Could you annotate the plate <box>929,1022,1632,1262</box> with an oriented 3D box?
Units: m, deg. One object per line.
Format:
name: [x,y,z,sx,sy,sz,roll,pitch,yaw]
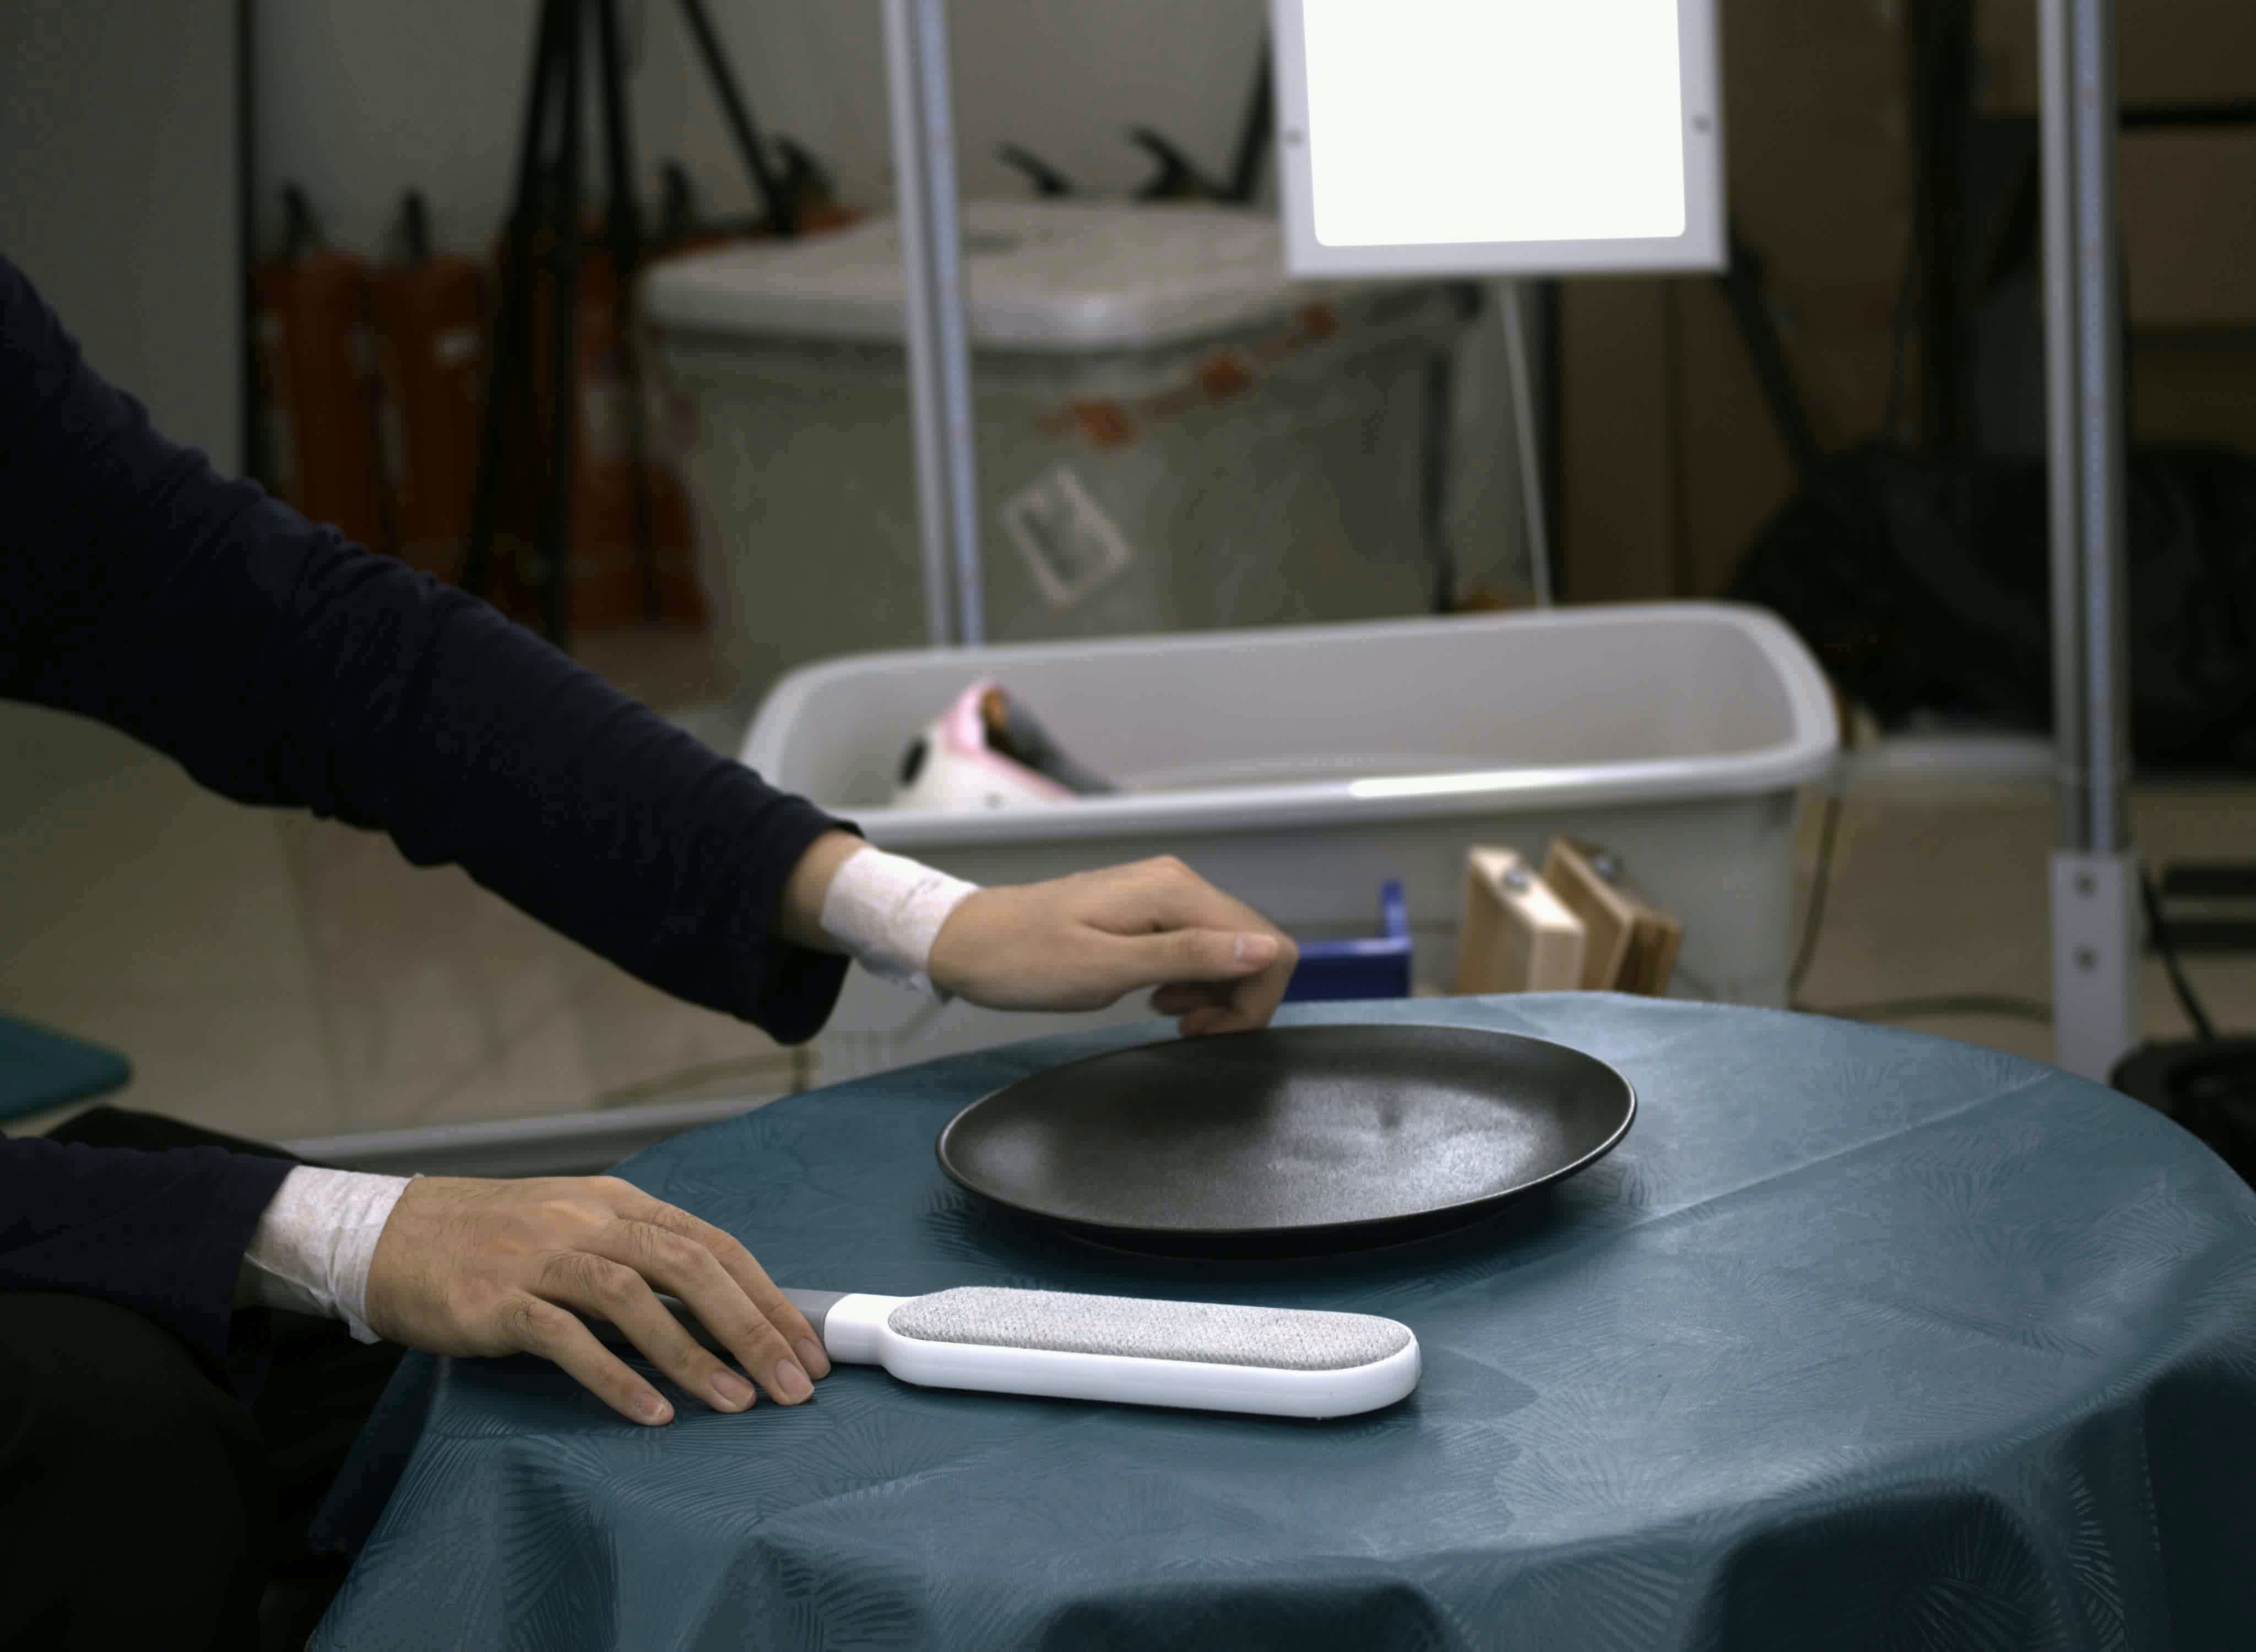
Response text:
plate: [0.053,0.111,1.897,0.244,0.023,0.244,-5,13,0]

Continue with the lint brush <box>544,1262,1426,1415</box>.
lint brush: [-0.051,0.158,1.737,0.314,0.021,0.059,2,20,28]
